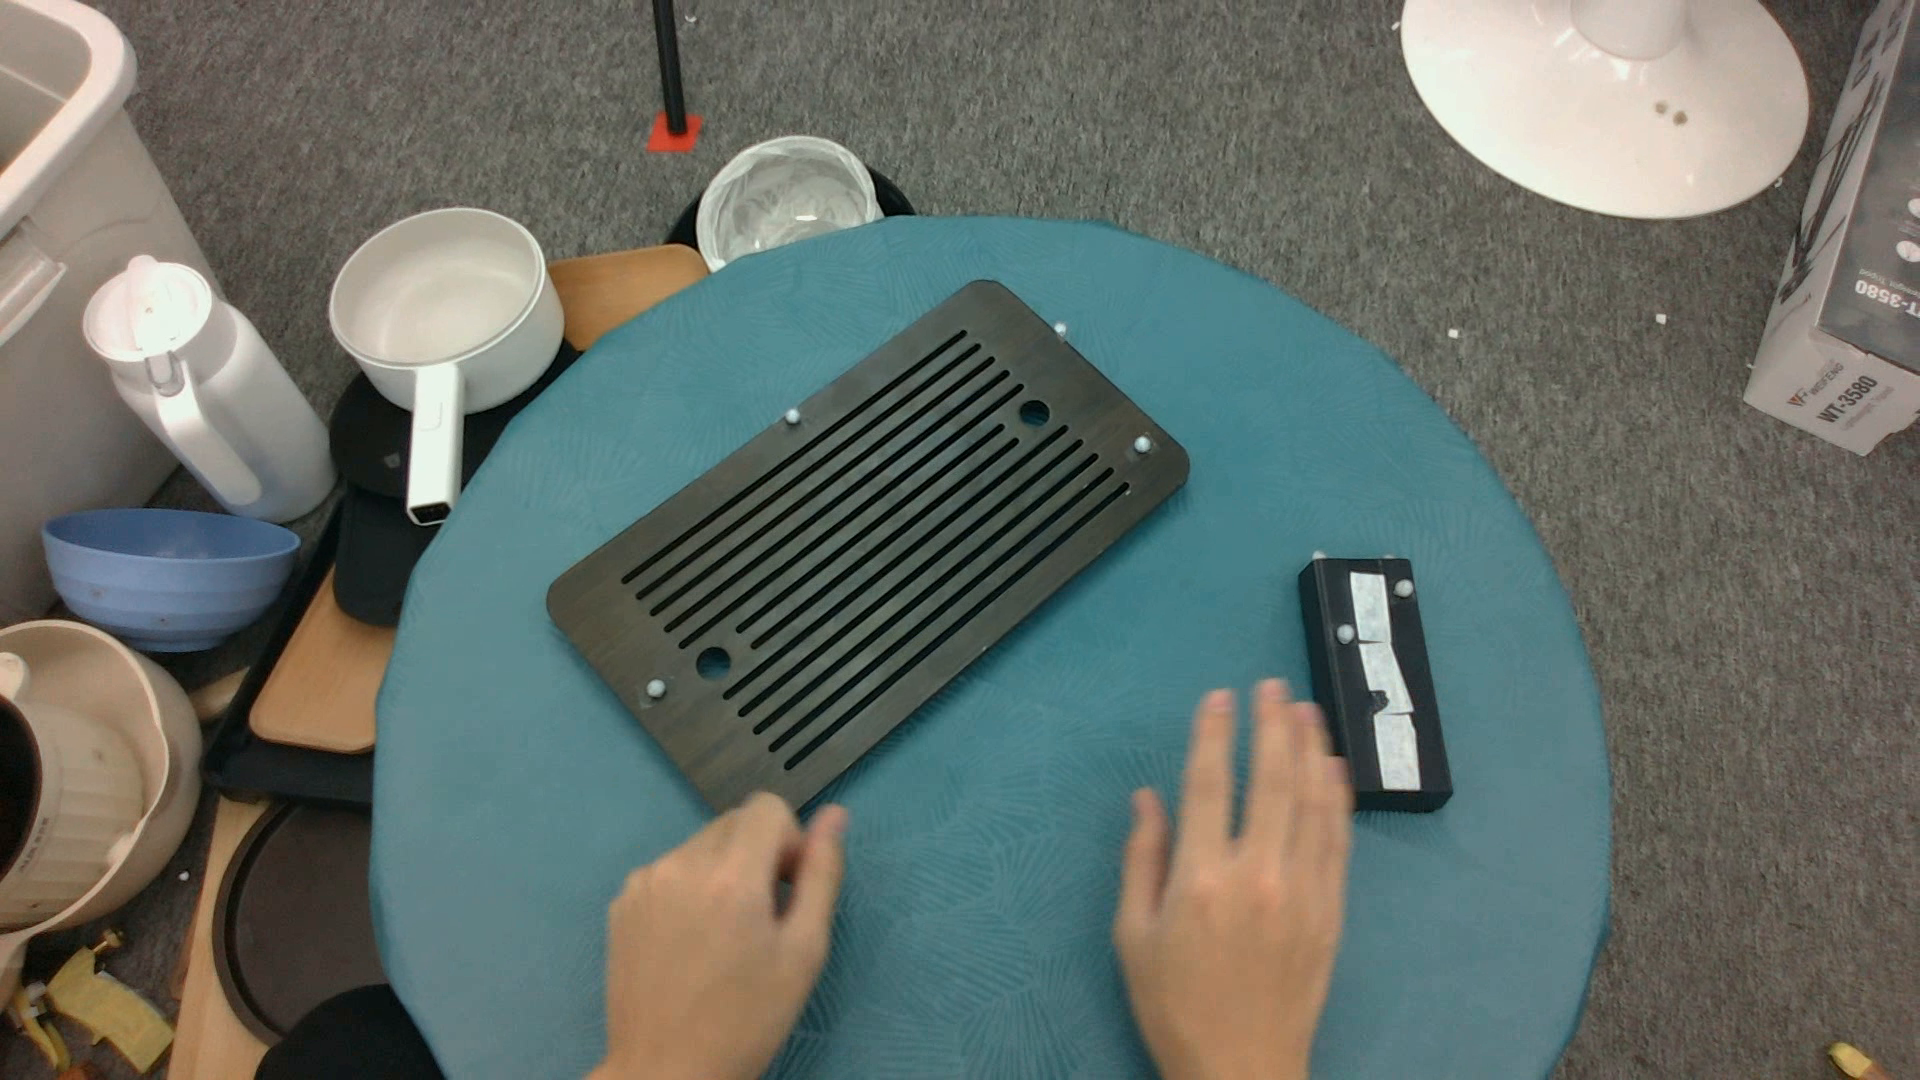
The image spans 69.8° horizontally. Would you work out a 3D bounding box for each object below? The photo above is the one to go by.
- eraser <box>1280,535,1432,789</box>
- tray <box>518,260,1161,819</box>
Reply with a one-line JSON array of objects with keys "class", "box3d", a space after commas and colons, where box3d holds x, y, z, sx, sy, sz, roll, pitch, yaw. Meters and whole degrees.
[{"class": "eraser", "box3d": [0.193, 0.060, 0.681, 0.053, 0.030, 0.126, -2, 65, -2]}, {"class": "tray", "box3d": [-0.055, -0.013, 0.706, 0.307, 0.018, 0.170, -39, 72, -20]}]
